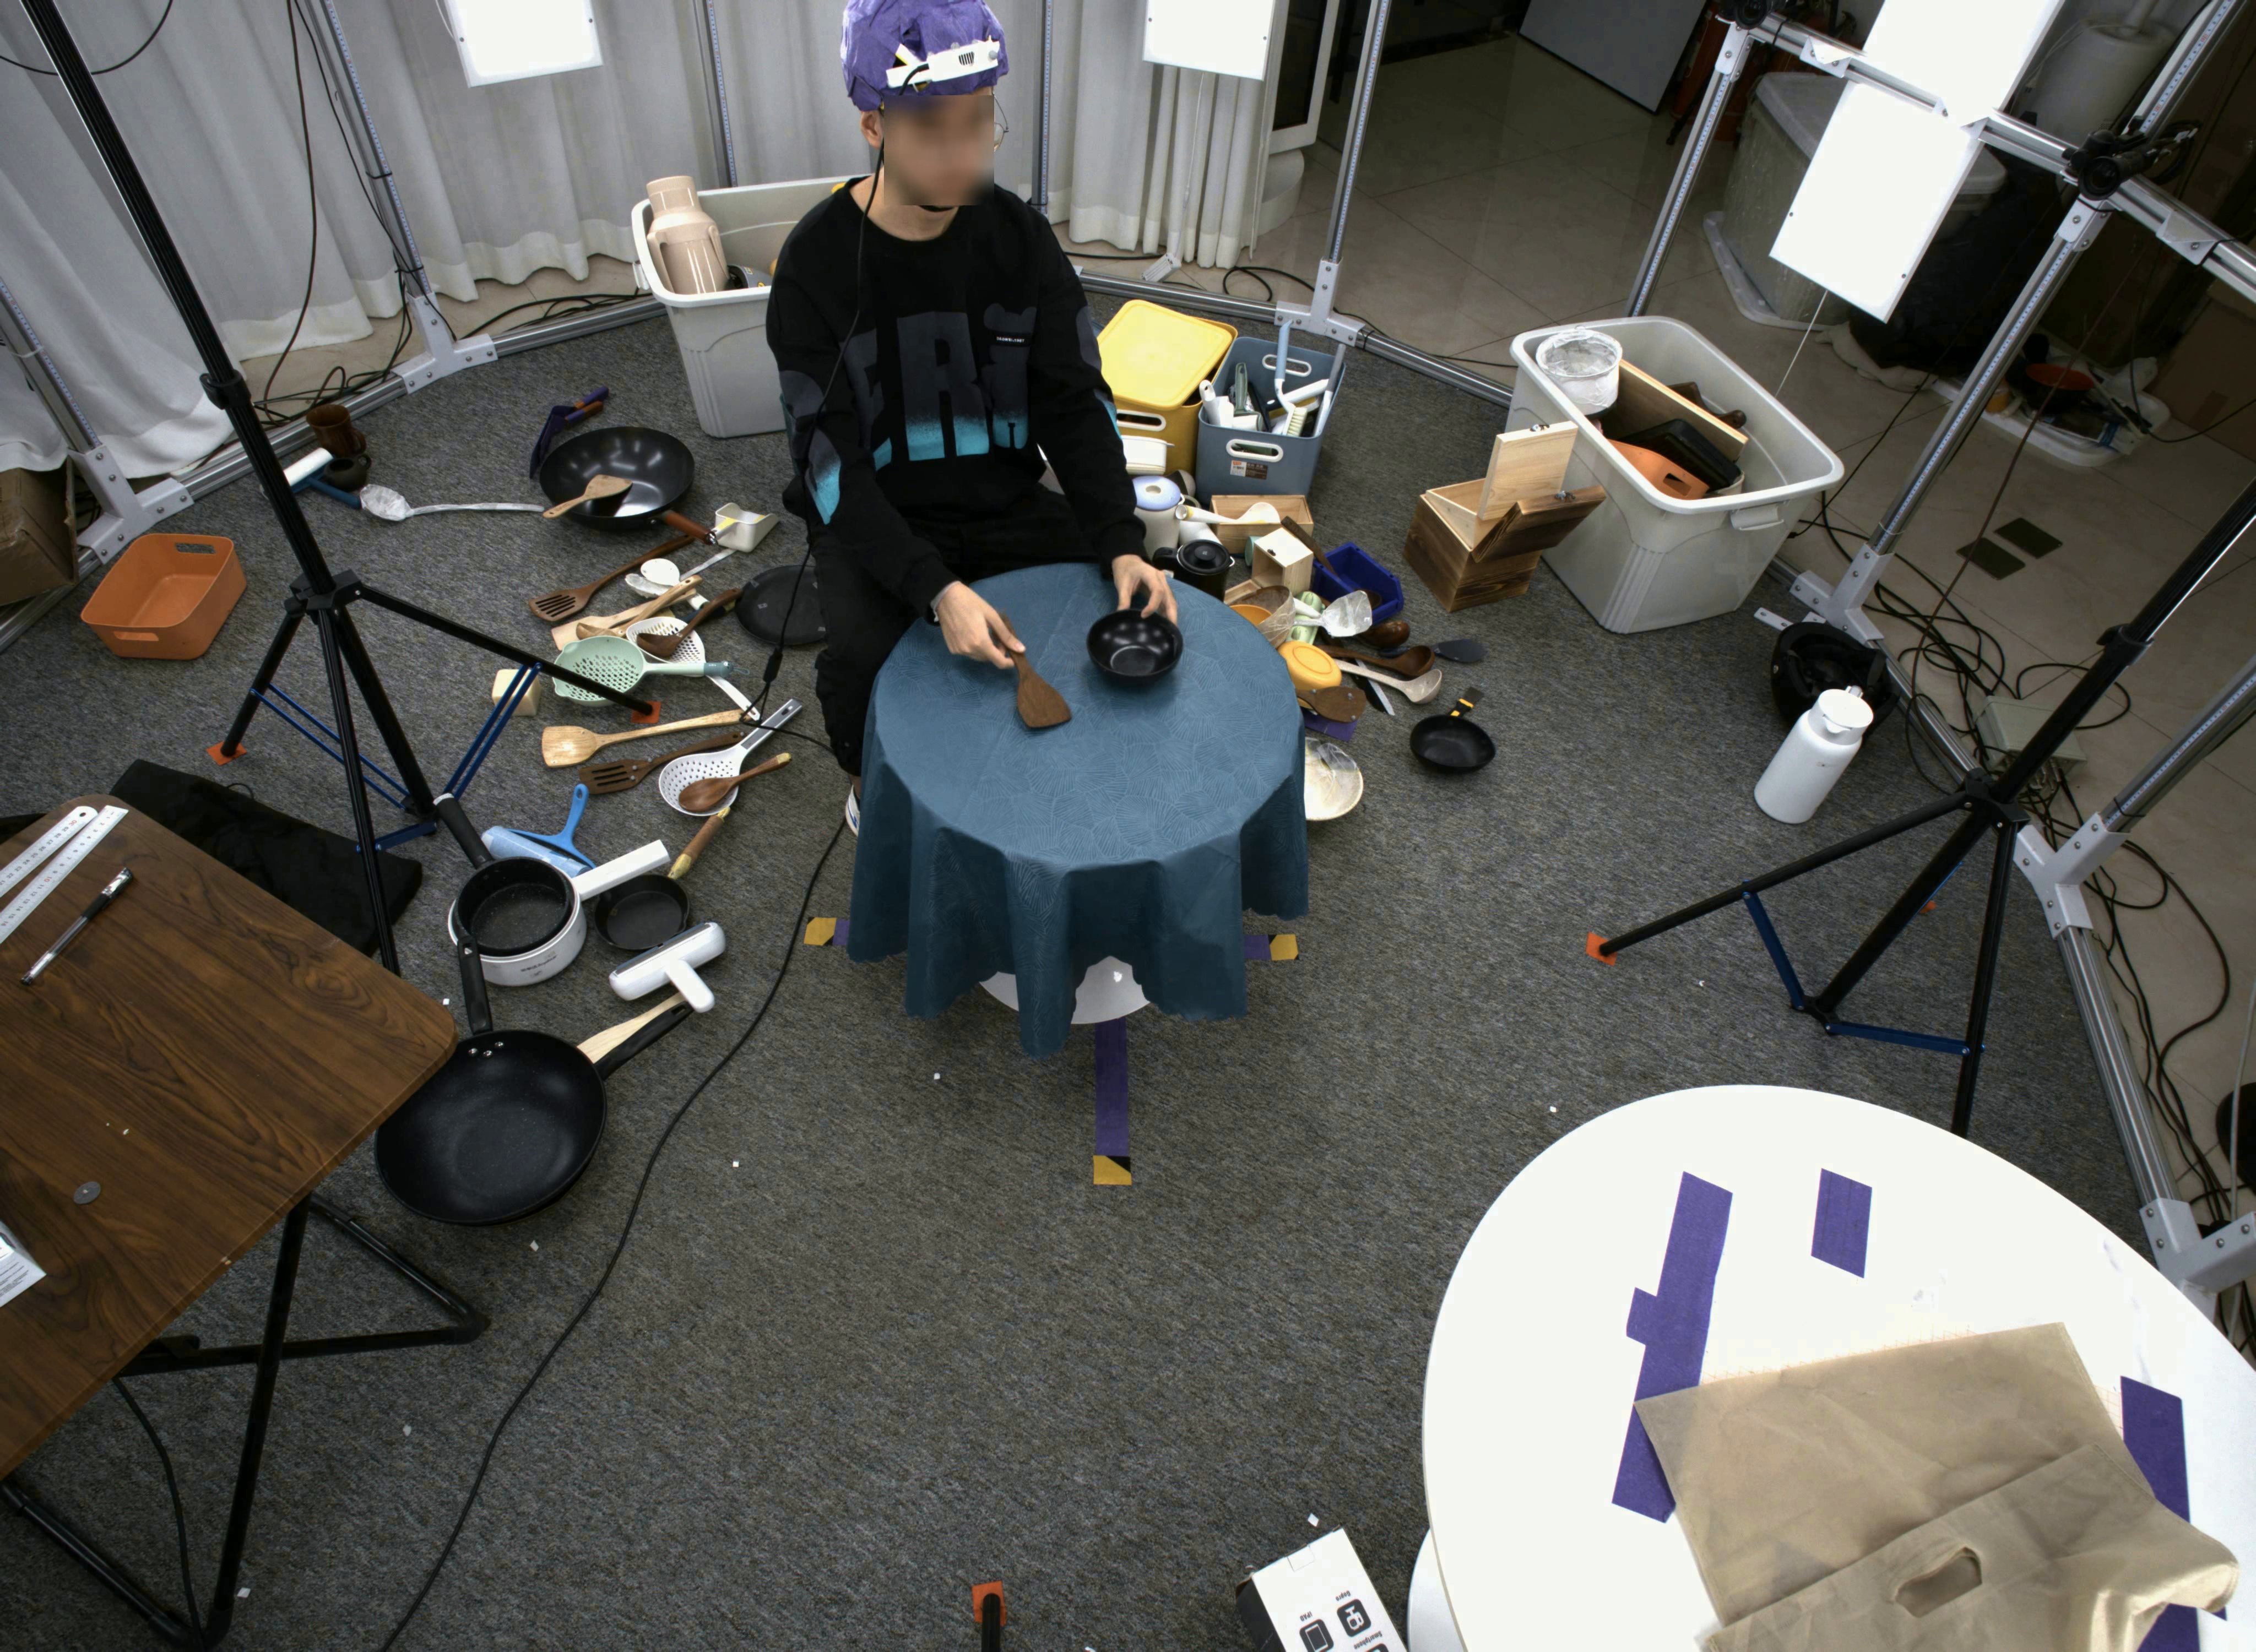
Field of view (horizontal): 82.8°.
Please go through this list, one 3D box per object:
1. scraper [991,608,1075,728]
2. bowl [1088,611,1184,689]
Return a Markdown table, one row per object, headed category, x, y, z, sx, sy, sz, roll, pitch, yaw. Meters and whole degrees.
| category | x | y | z | sx | sy | sz | roll | pitch | yaw |
| --- | --- | --- | --- | --- | --- | --- | --- | --- | --- |
| scraper | -0.147 | -0.227 | 1.835 | 0.076 | 0.010 | 0.215 | -13 | 64 | -28 |
| bowl | 0.012 | -0.248 | 1.869 | 0.140 | 0.048 | 0.143 | -1 | 52 | 1 |
